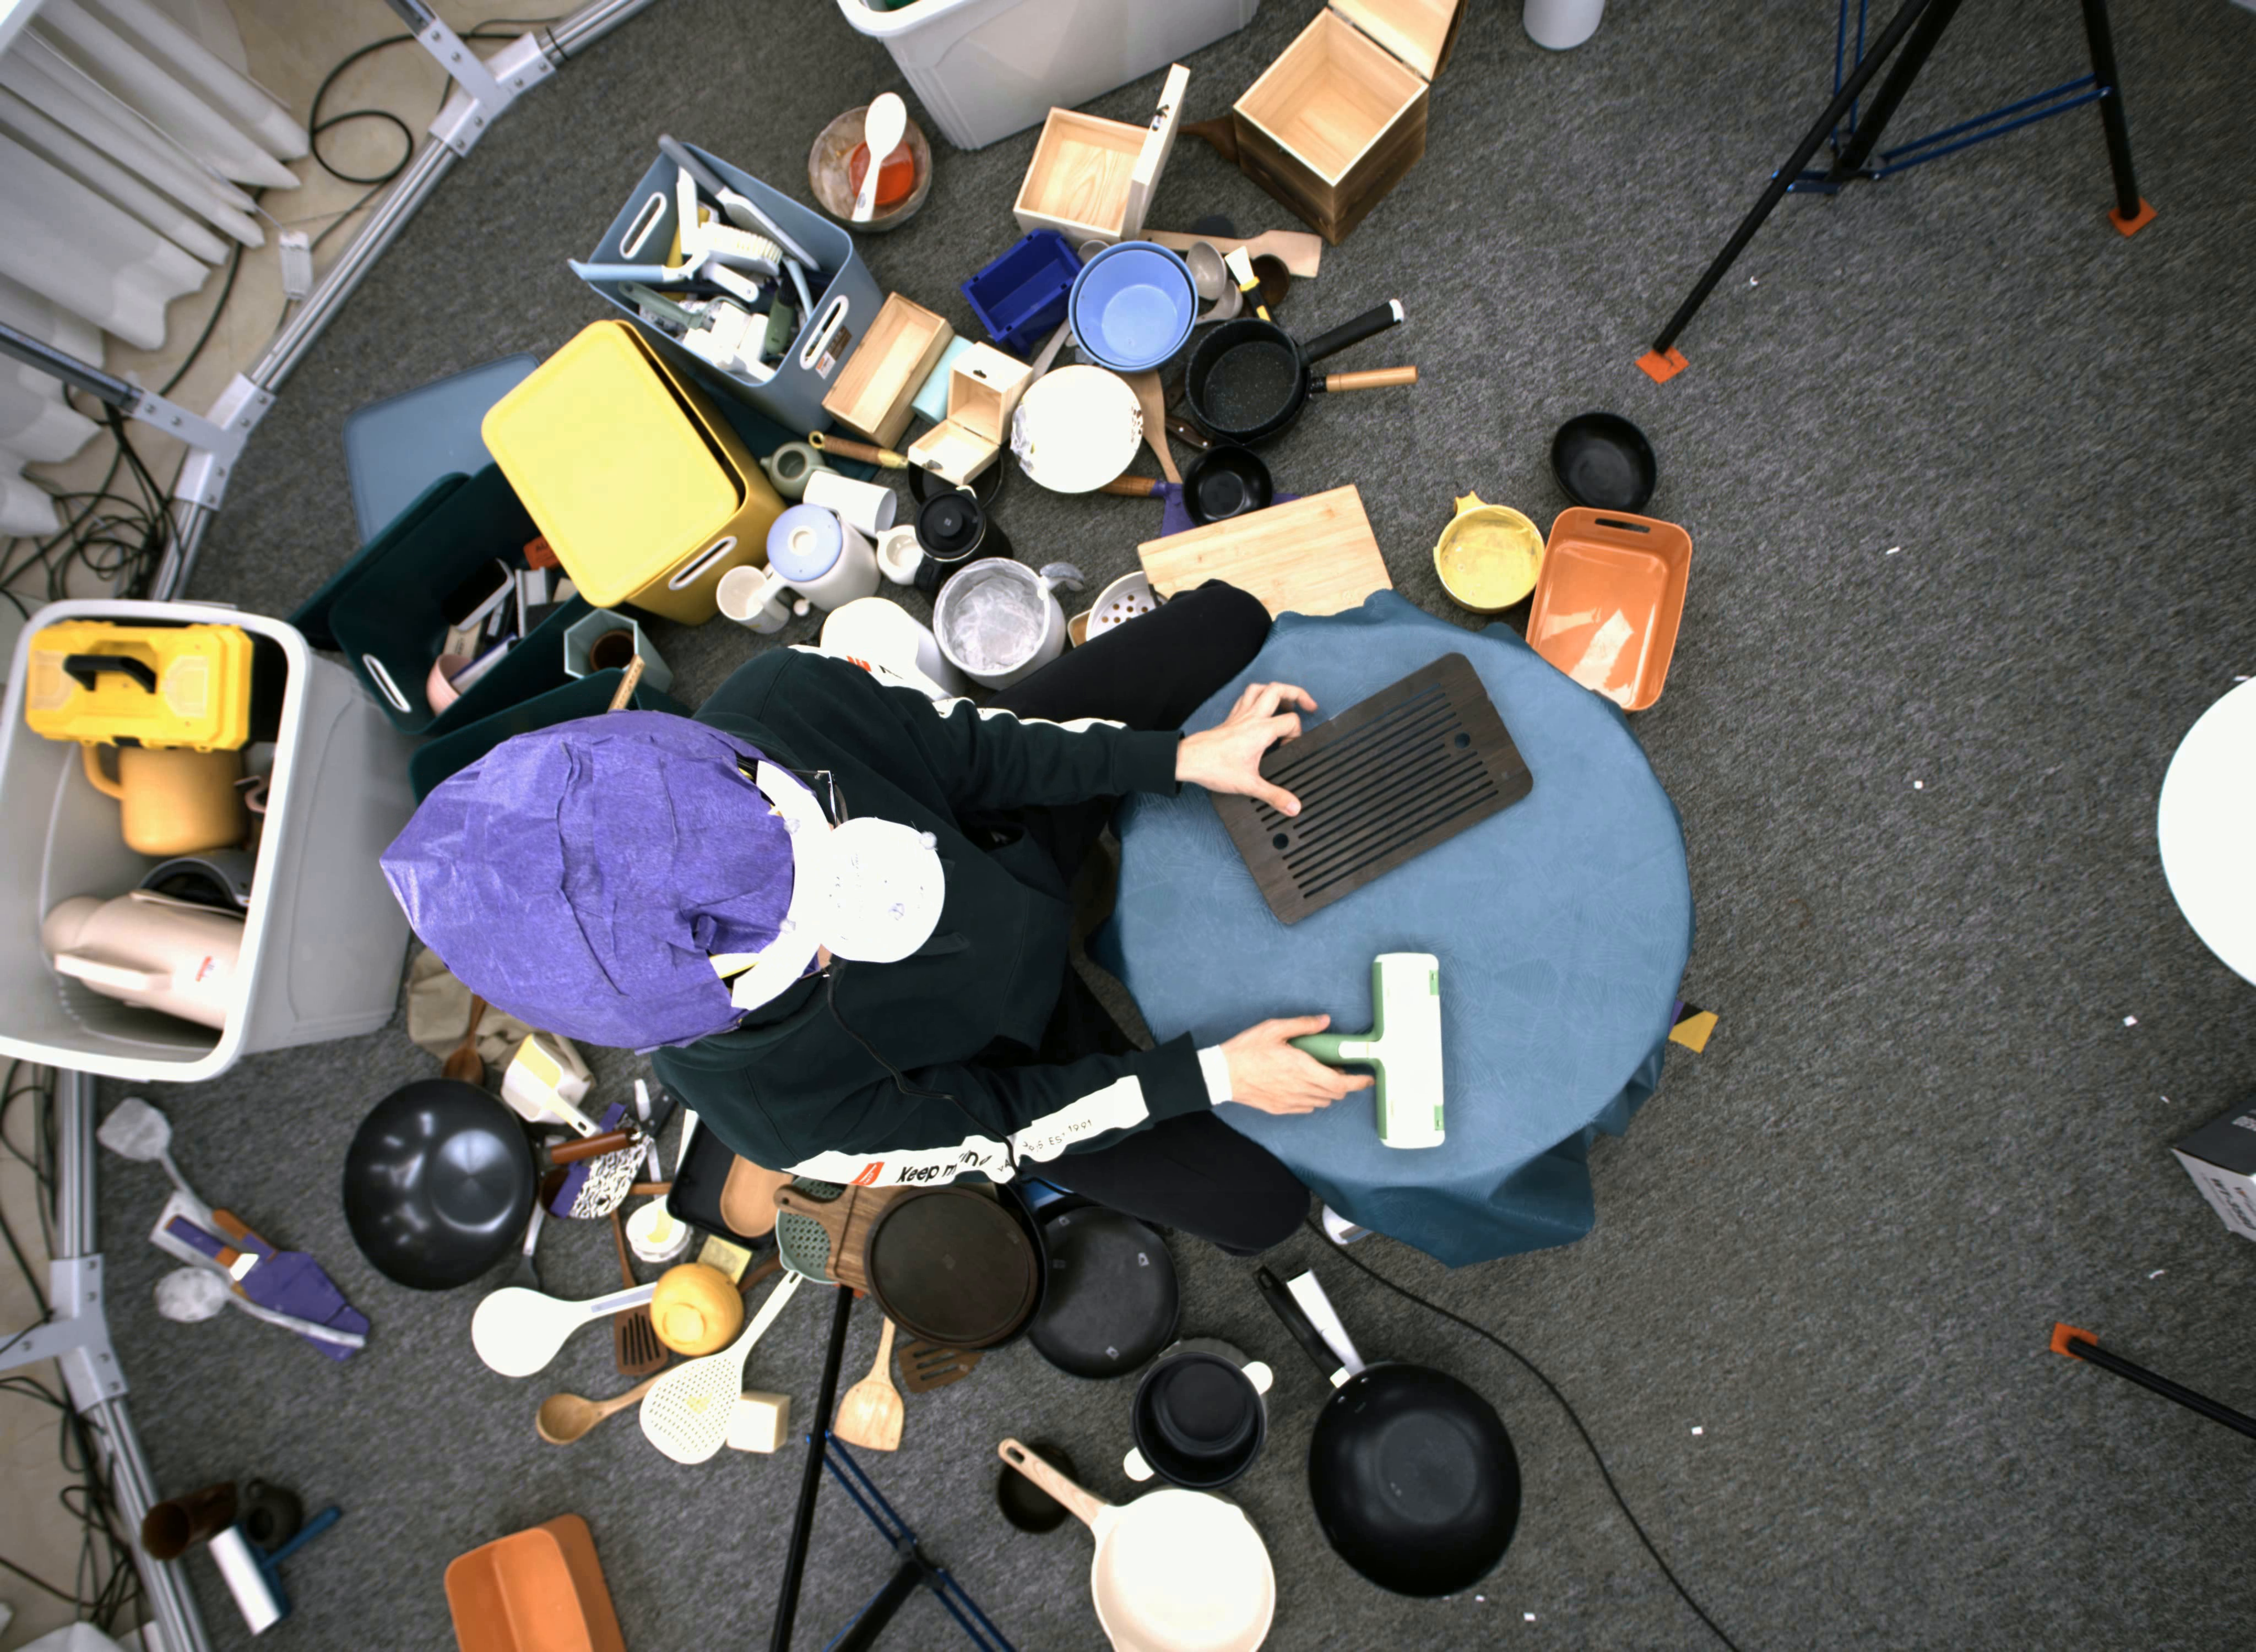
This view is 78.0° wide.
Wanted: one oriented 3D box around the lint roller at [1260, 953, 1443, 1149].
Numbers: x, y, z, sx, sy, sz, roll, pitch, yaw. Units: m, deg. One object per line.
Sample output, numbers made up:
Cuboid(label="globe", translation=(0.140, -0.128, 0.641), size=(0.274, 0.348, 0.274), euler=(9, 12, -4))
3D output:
Cuboid(label="lint roller", translation=(0.227, 0.228, 1.415), size=(0.184, 0.082, 0.198), euler=(-1, 87, 7))

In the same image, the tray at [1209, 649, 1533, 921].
Cuboid(label="tray", translation=(0.252, -0.043, 1.440), size=(0.308, 0.018, 0.170), euler=(-29, 94, 8))
